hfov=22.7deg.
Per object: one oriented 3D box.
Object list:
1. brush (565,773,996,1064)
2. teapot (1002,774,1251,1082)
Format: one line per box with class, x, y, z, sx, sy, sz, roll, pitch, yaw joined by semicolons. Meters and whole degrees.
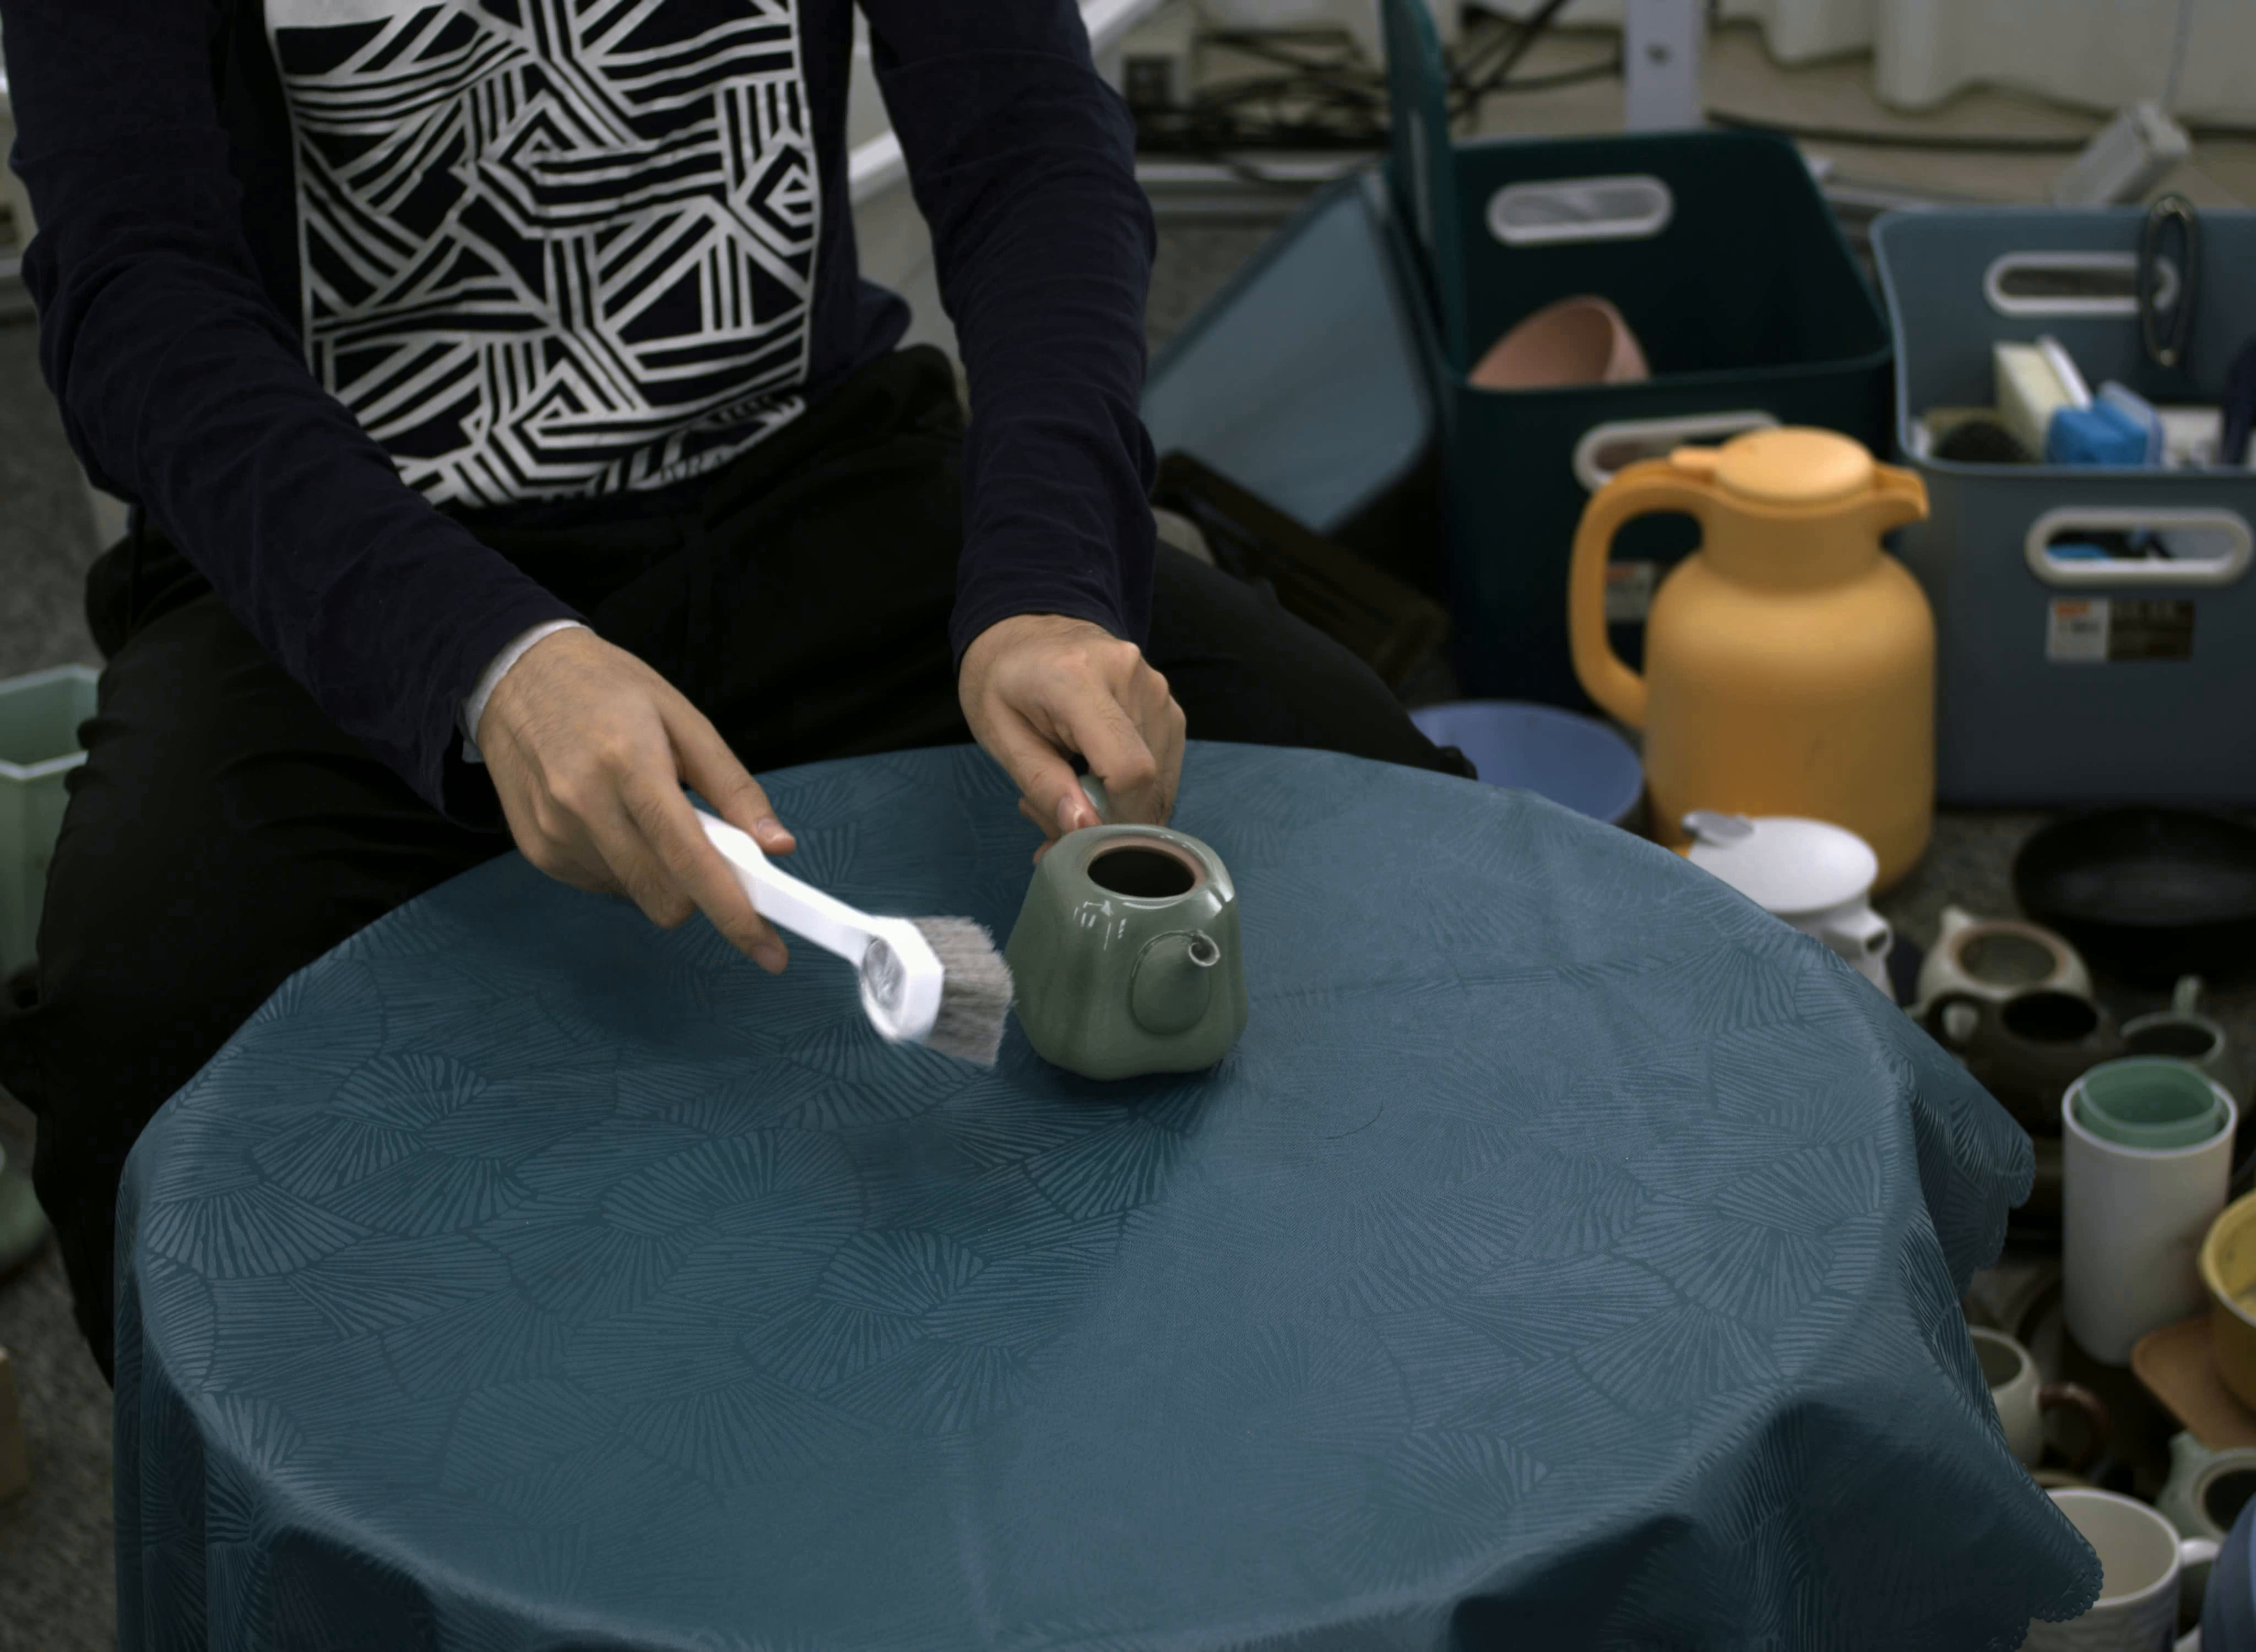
brush;-0.118;0.027;1.930;0.050;0.034;0.244;-3;20;-35
teapot;0.001;0.041;1.928;0.080;0.074;0.134;-6;30;-21
